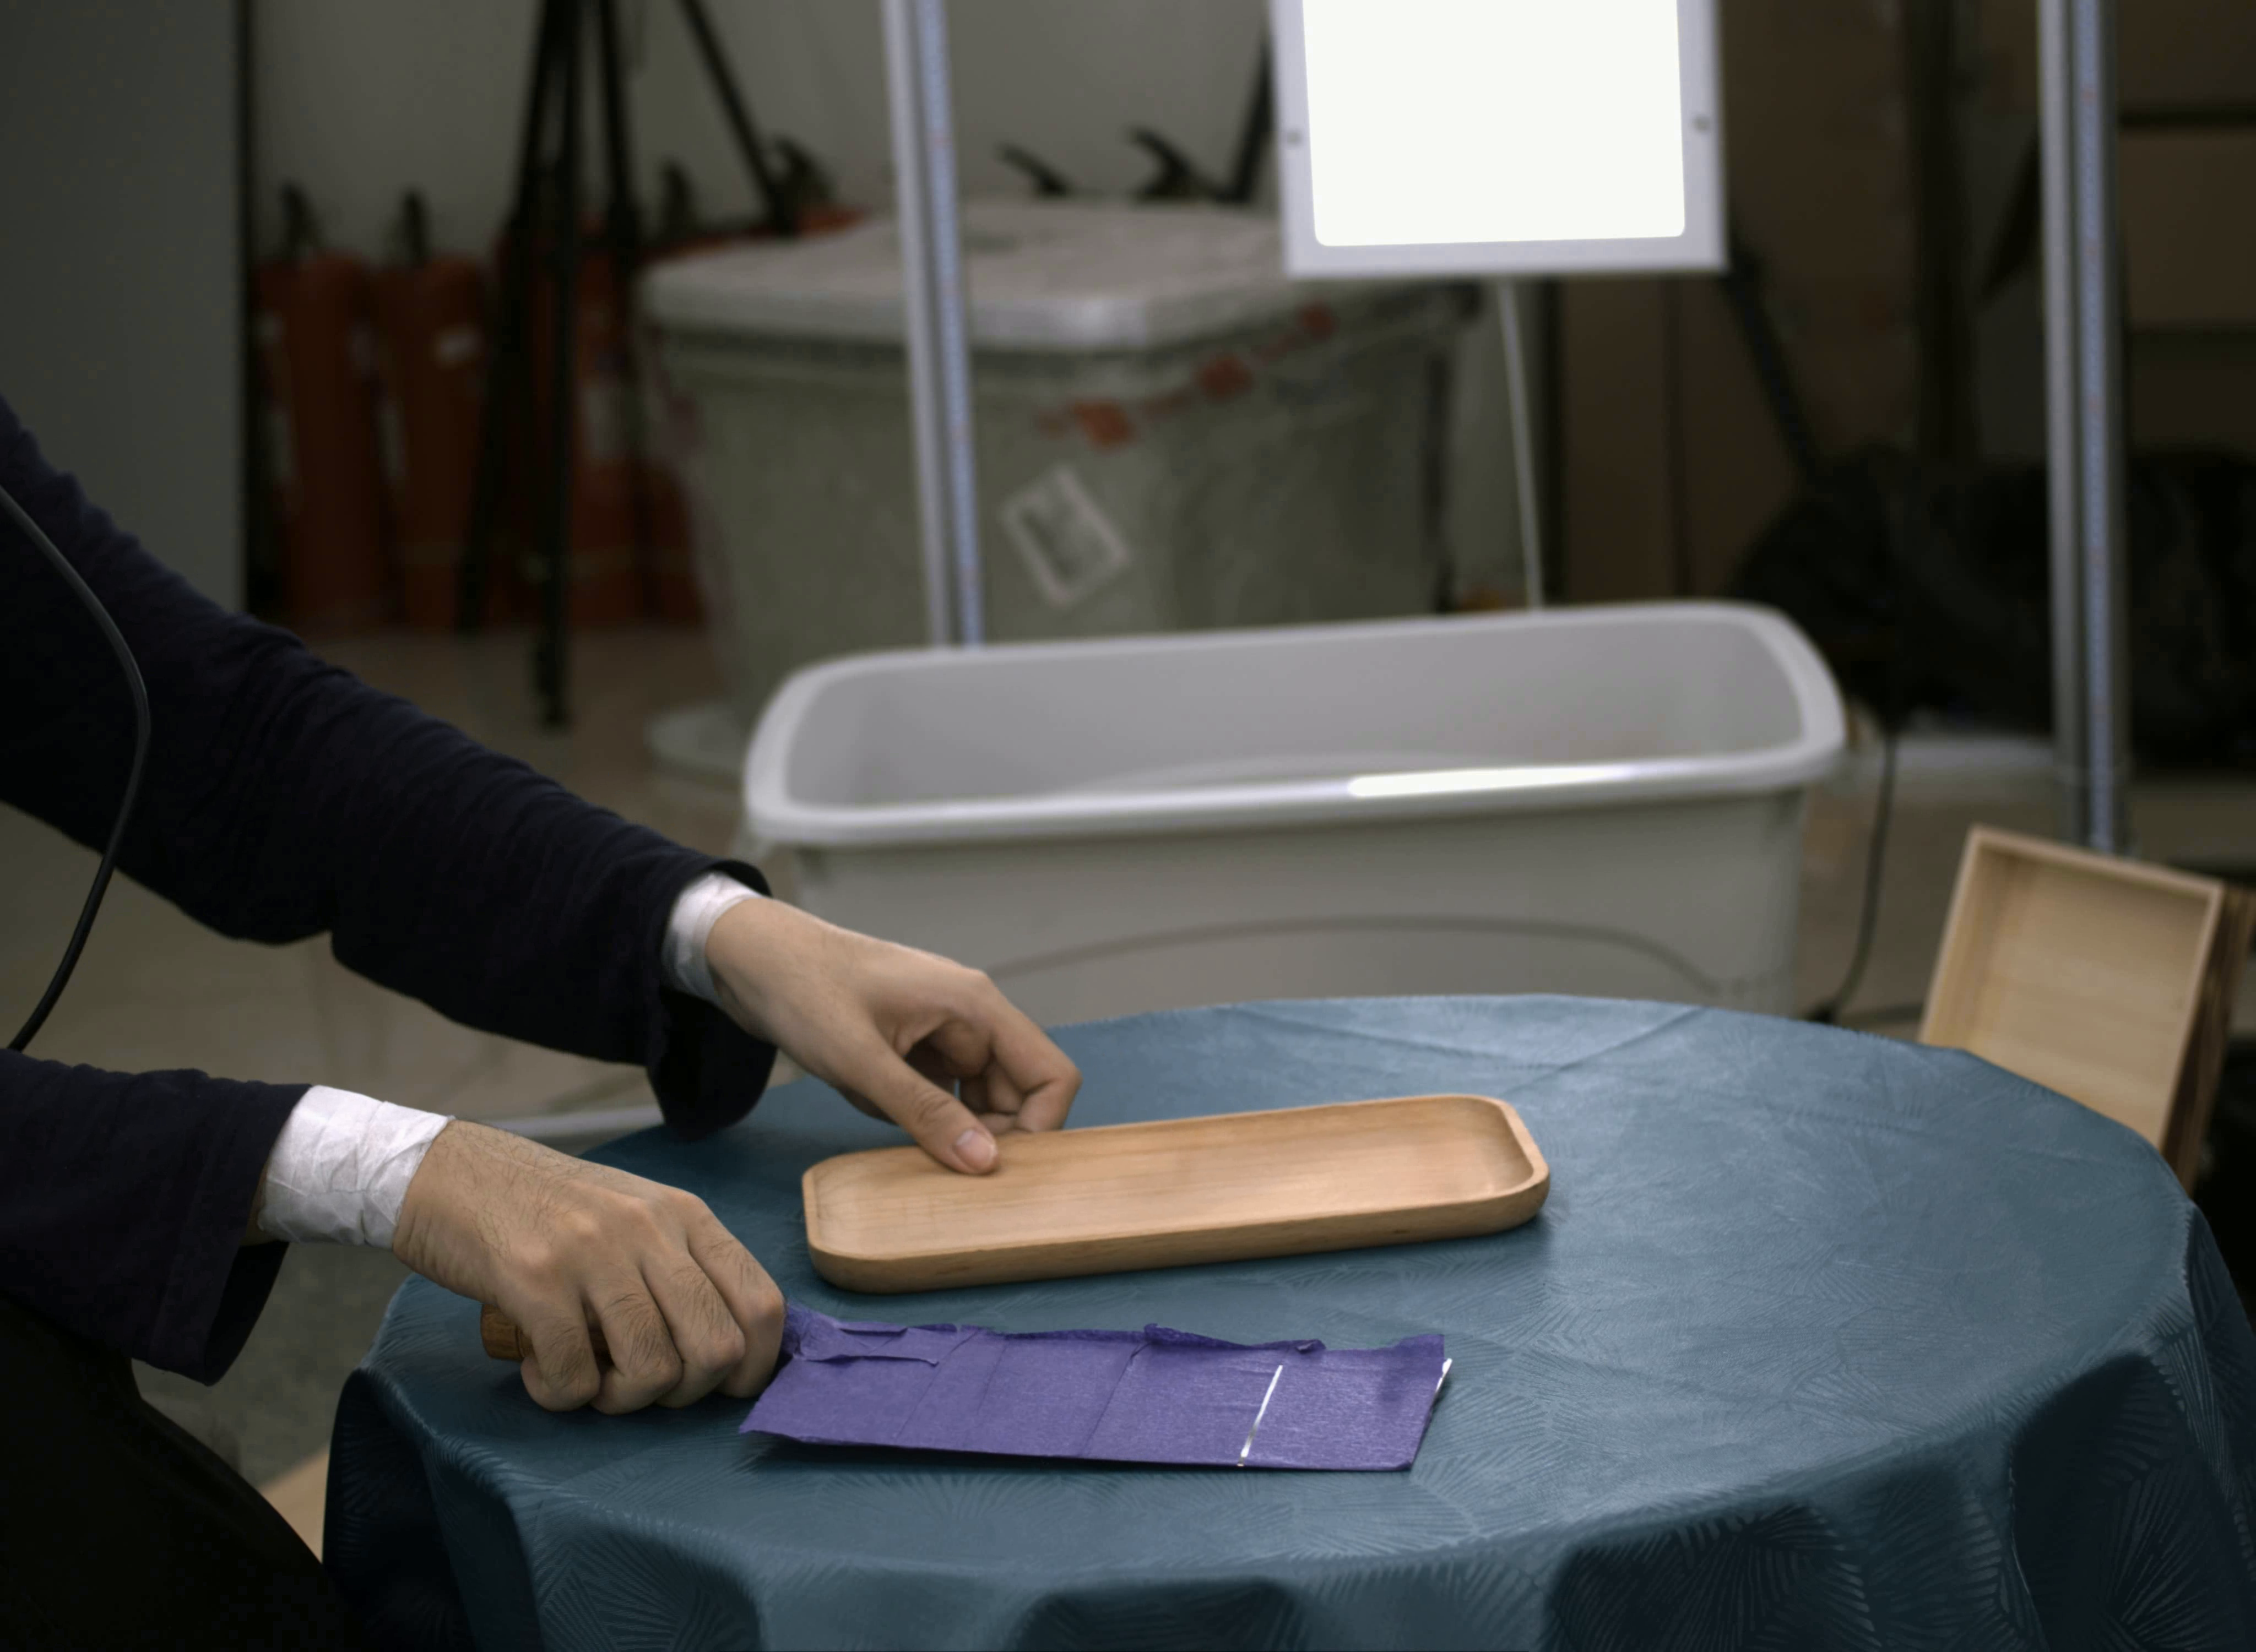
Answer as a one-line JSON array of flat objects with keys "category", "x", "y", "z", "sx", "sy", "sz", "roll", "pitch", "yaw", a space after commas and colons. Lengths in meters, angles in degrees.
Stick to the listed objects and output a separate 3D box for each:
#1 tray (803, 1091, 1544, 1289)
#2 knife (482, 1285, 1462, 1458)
[{"category": "tray", "x": 0.014, "y": 0.124, "z": 1.875, "sx": 0.250, "sy": 0.023, "sz": 0.130, "roll": -6, "pitch": 11, "yaw": 1}, {"category": "knife", "x": -0.057, "y": 0.168, "z": 1.695, "sx": 0.318, "sy": 0.032, "sz": 0.102, "roll": -1, "pitch": 15, "yaw": 15}]
